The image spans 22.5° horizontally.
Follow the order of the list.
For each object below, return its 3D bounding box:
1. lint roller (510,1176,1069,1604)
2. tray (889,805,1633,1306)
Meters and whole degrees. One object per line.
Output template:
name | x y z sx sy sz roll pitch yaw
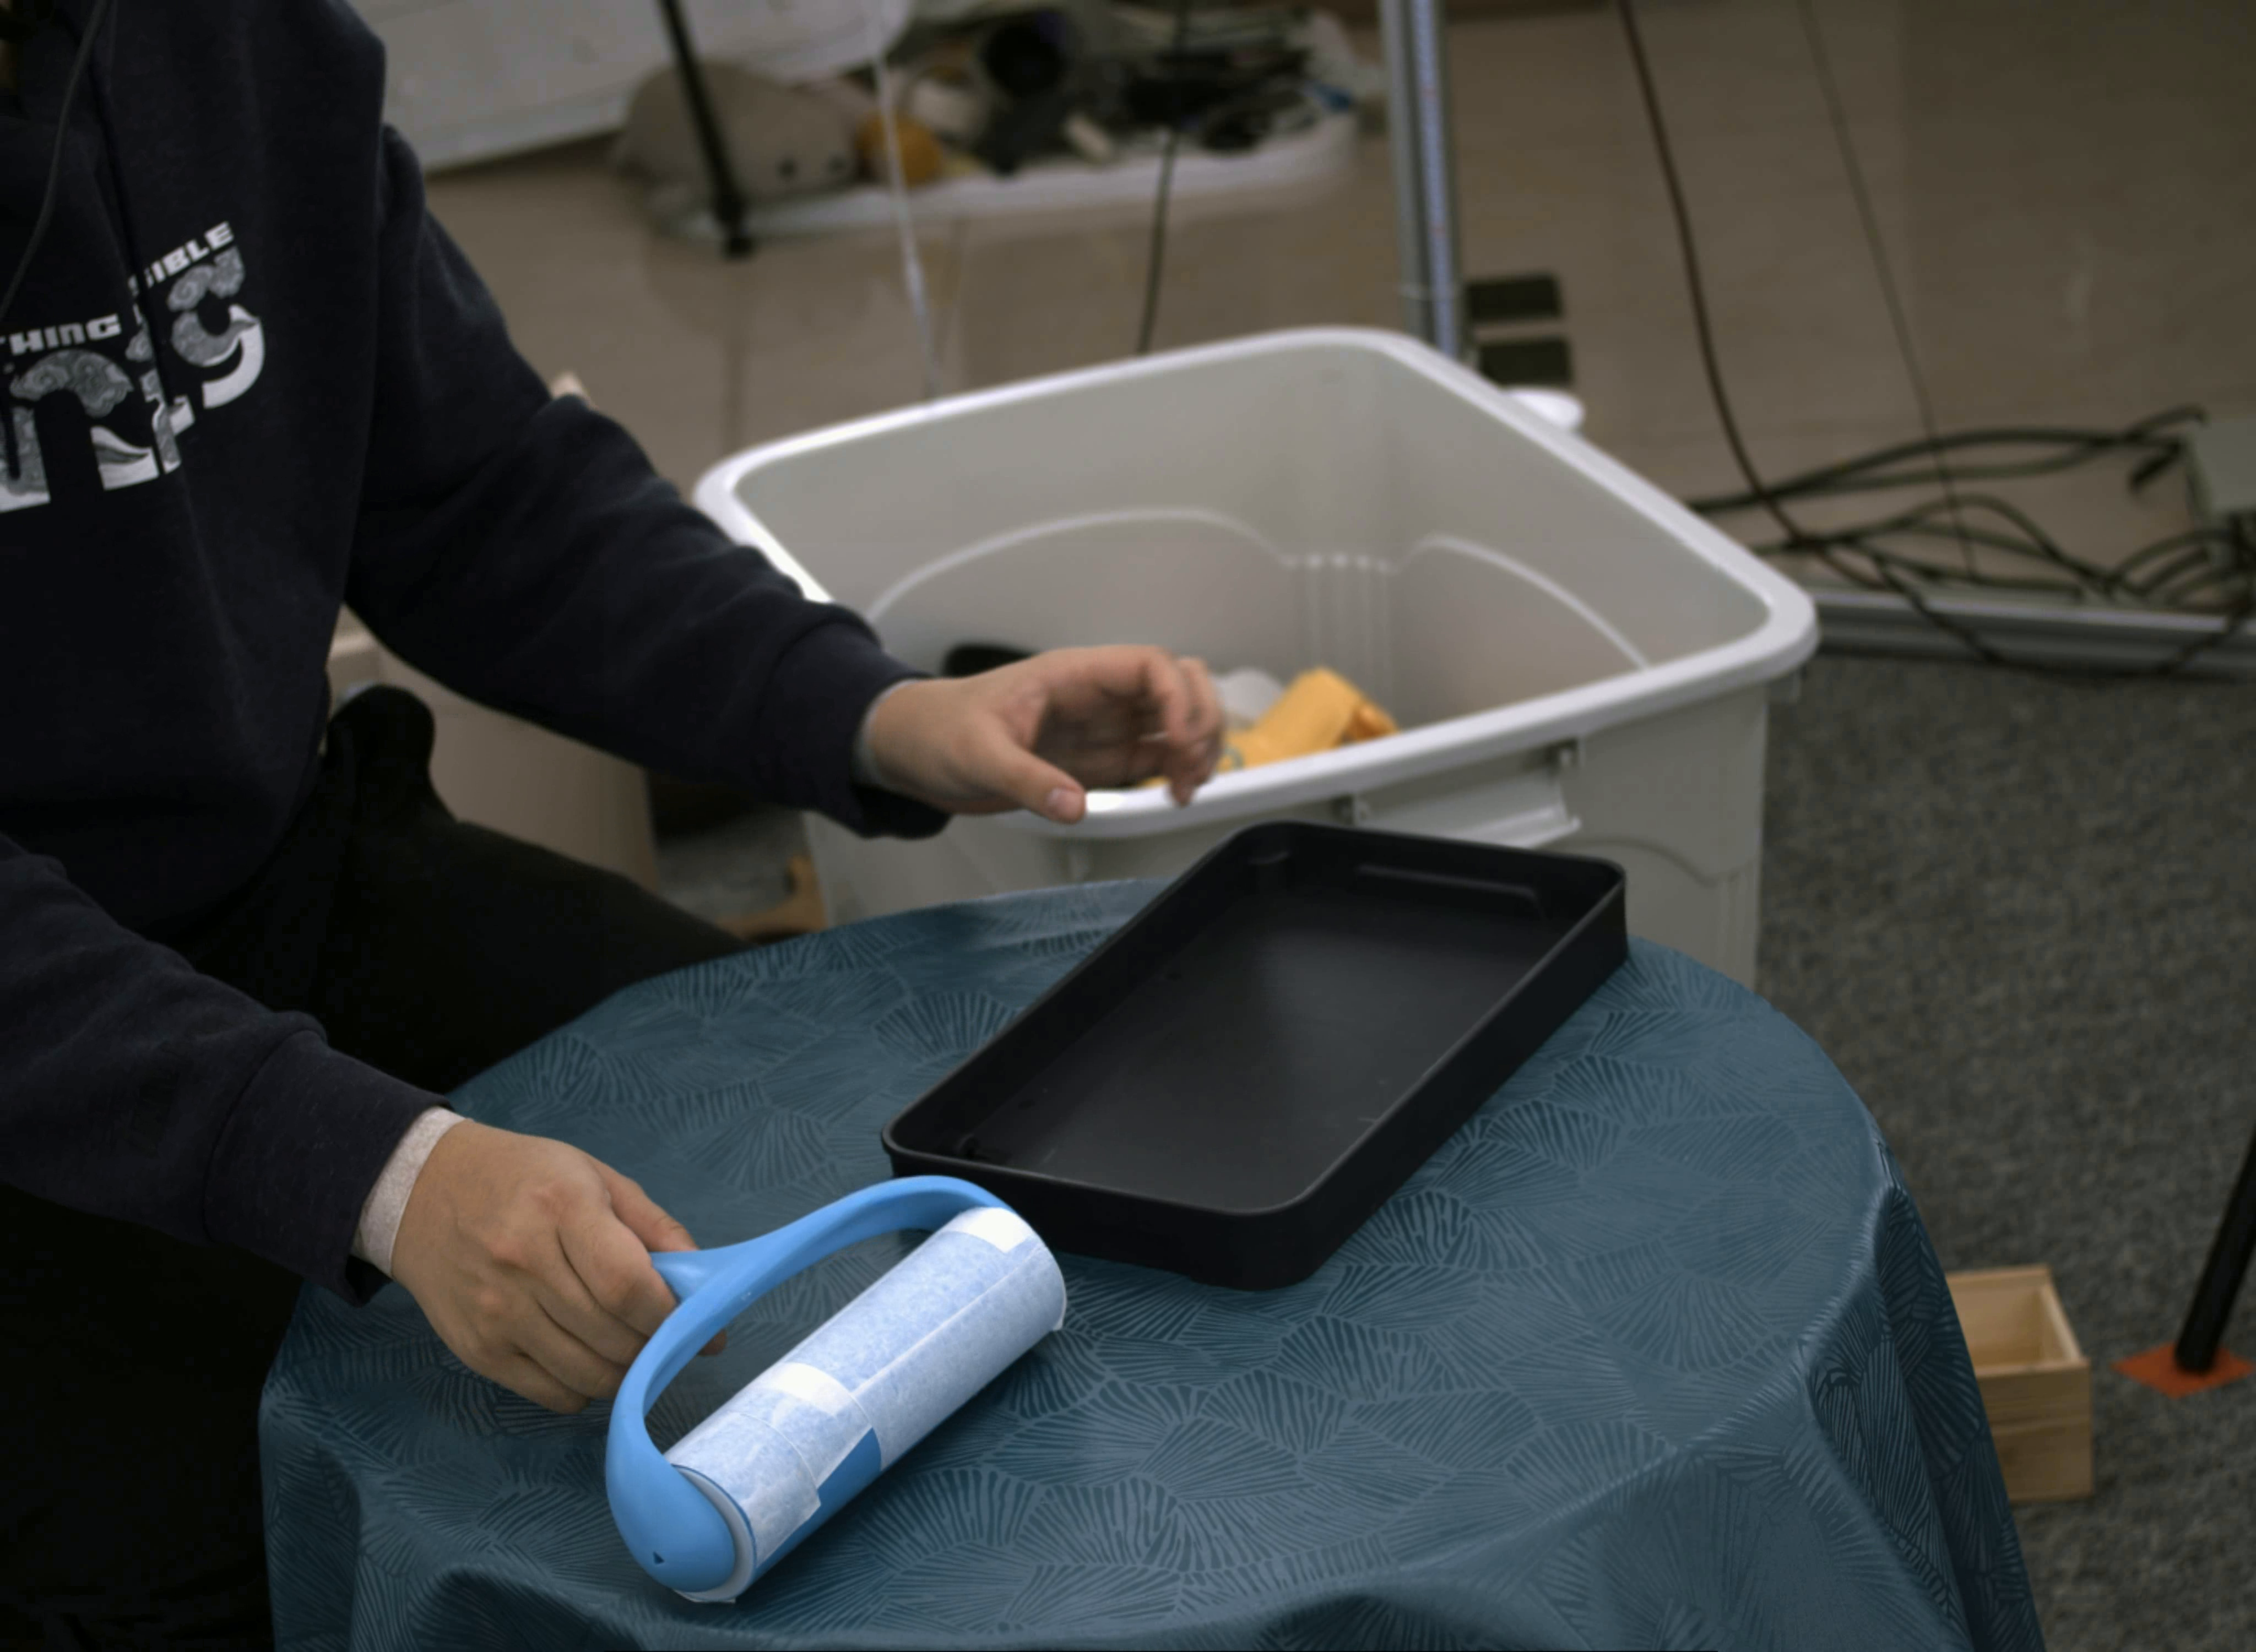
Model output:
lint roller | -0.146 0.182 1.999 0.179 0.069 0.226 18 35 25
tray | 0.058 0.084 2.219 0.183 0.037 0.314 8 31 29
